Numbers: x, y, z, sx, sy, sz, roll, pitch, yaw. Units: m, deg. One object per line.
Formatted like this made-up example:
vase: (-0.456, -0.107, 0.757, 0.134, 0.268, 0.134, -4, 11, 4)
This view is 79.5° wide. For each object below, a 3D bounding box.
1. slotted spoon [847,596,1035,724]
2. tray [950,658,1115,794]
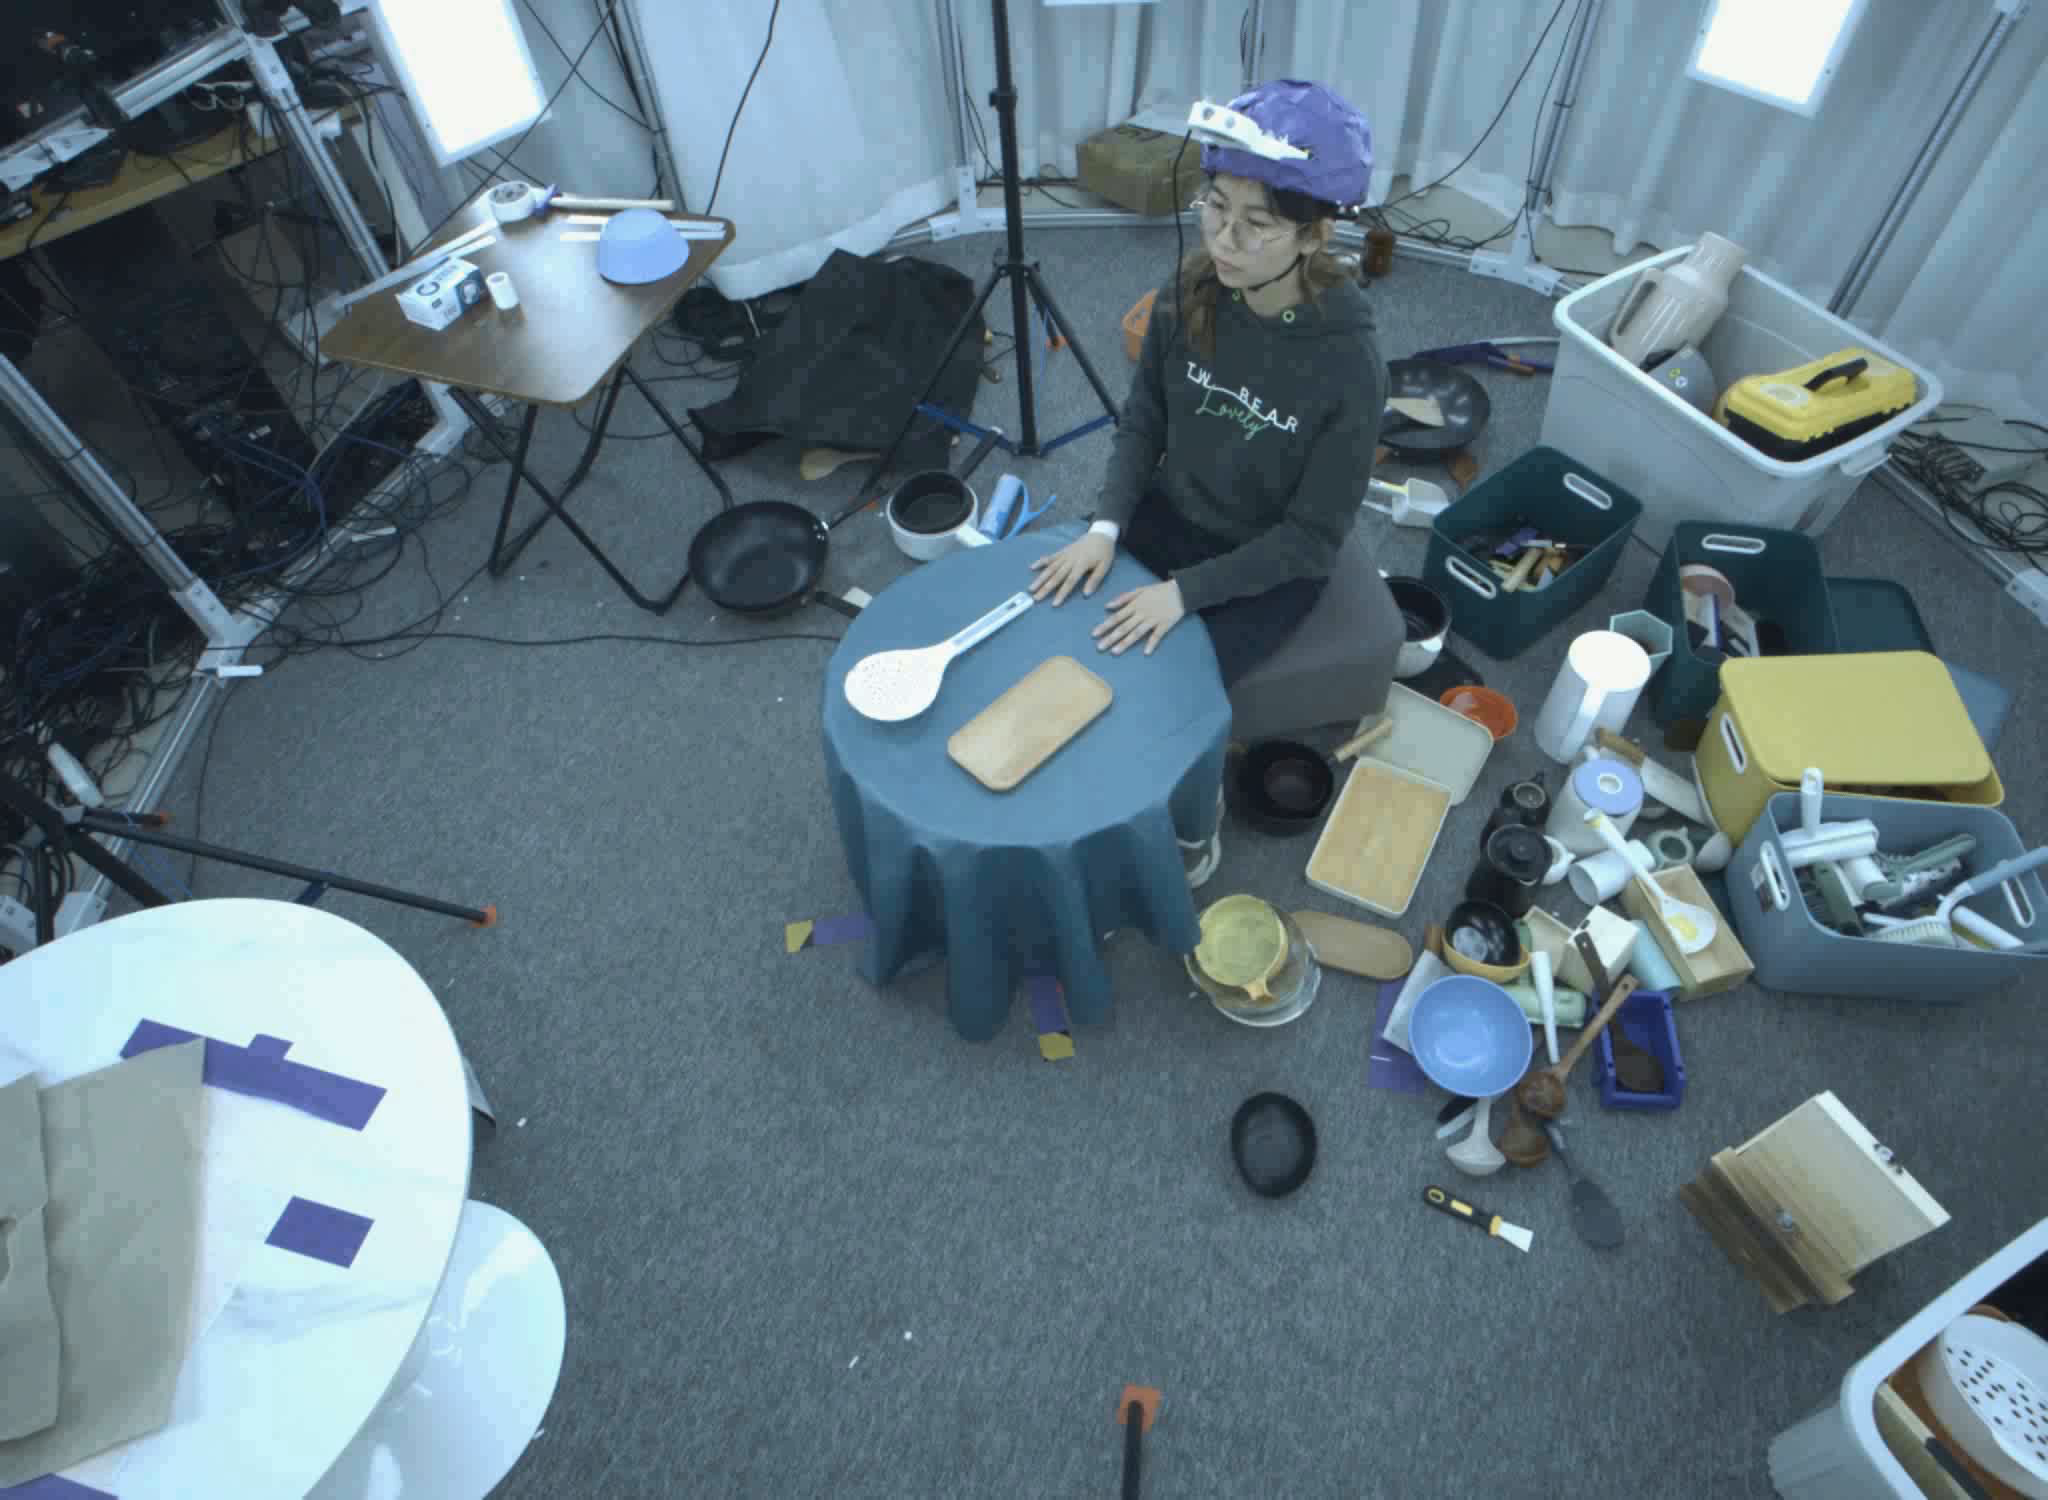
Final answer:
slotted spoon: (-0.117, -0.145, 1.875, 0.352, 0.046, 0.134, -39, 65, -24)
tray: (0.014, -0.038, 1.814, 0.252, 0.023, 0.128, -39, 64, -24)
